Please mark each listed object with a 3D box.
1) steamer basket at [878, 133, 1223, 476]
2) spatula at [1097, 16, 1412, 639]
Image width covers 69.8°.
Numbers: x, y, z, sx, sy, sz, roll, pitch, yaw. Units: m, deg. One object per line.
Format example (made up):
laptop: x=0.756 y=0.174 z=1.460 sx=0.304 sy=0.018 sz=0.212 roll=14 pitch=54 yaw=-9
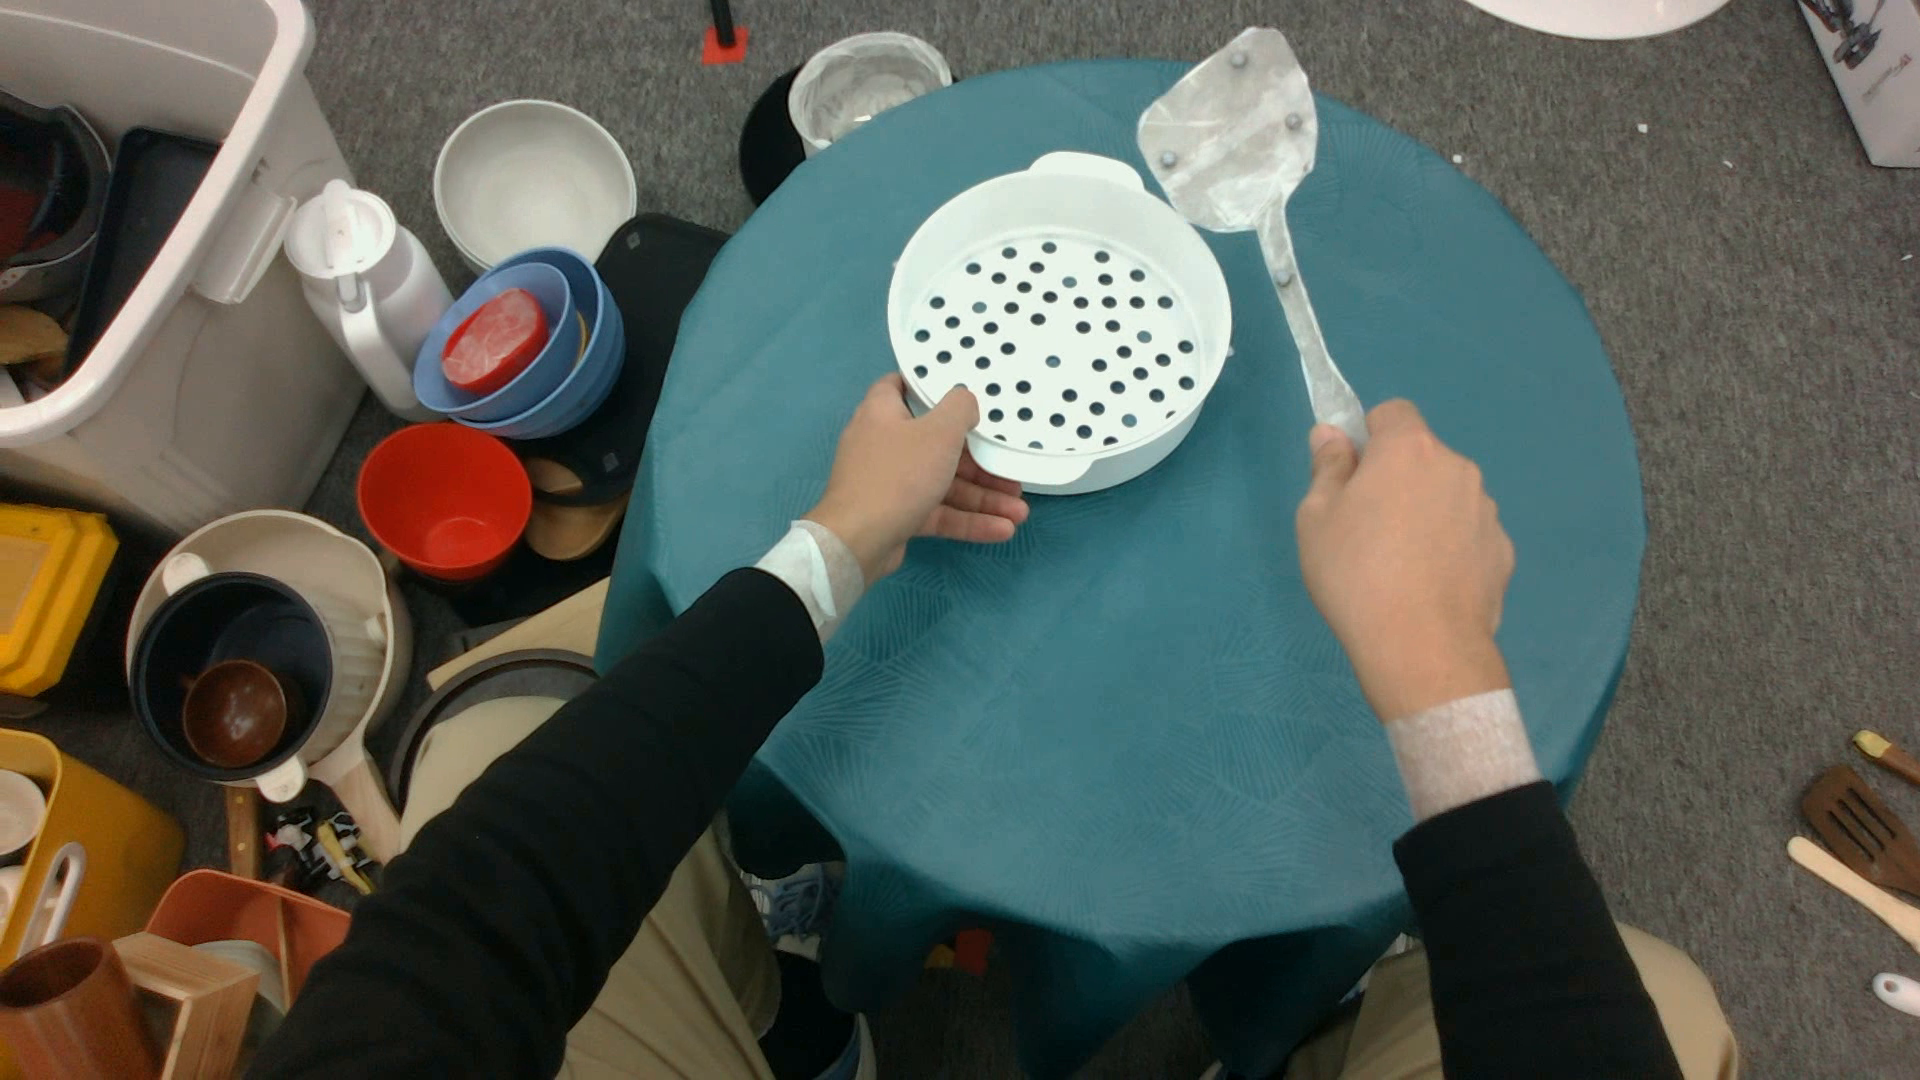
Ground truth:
steamer basket: x=0.053 y=-0.135 z=0.831 sx=0.202 sy=0.069 sz=0.231 roll=11 pitch=67 yaw=5
spatula: x=0.153 y=-0.117 z=0.683 sx=0.098 sy=0.045 sz=0.366 roll=-31 pitch=51 yaw=27
